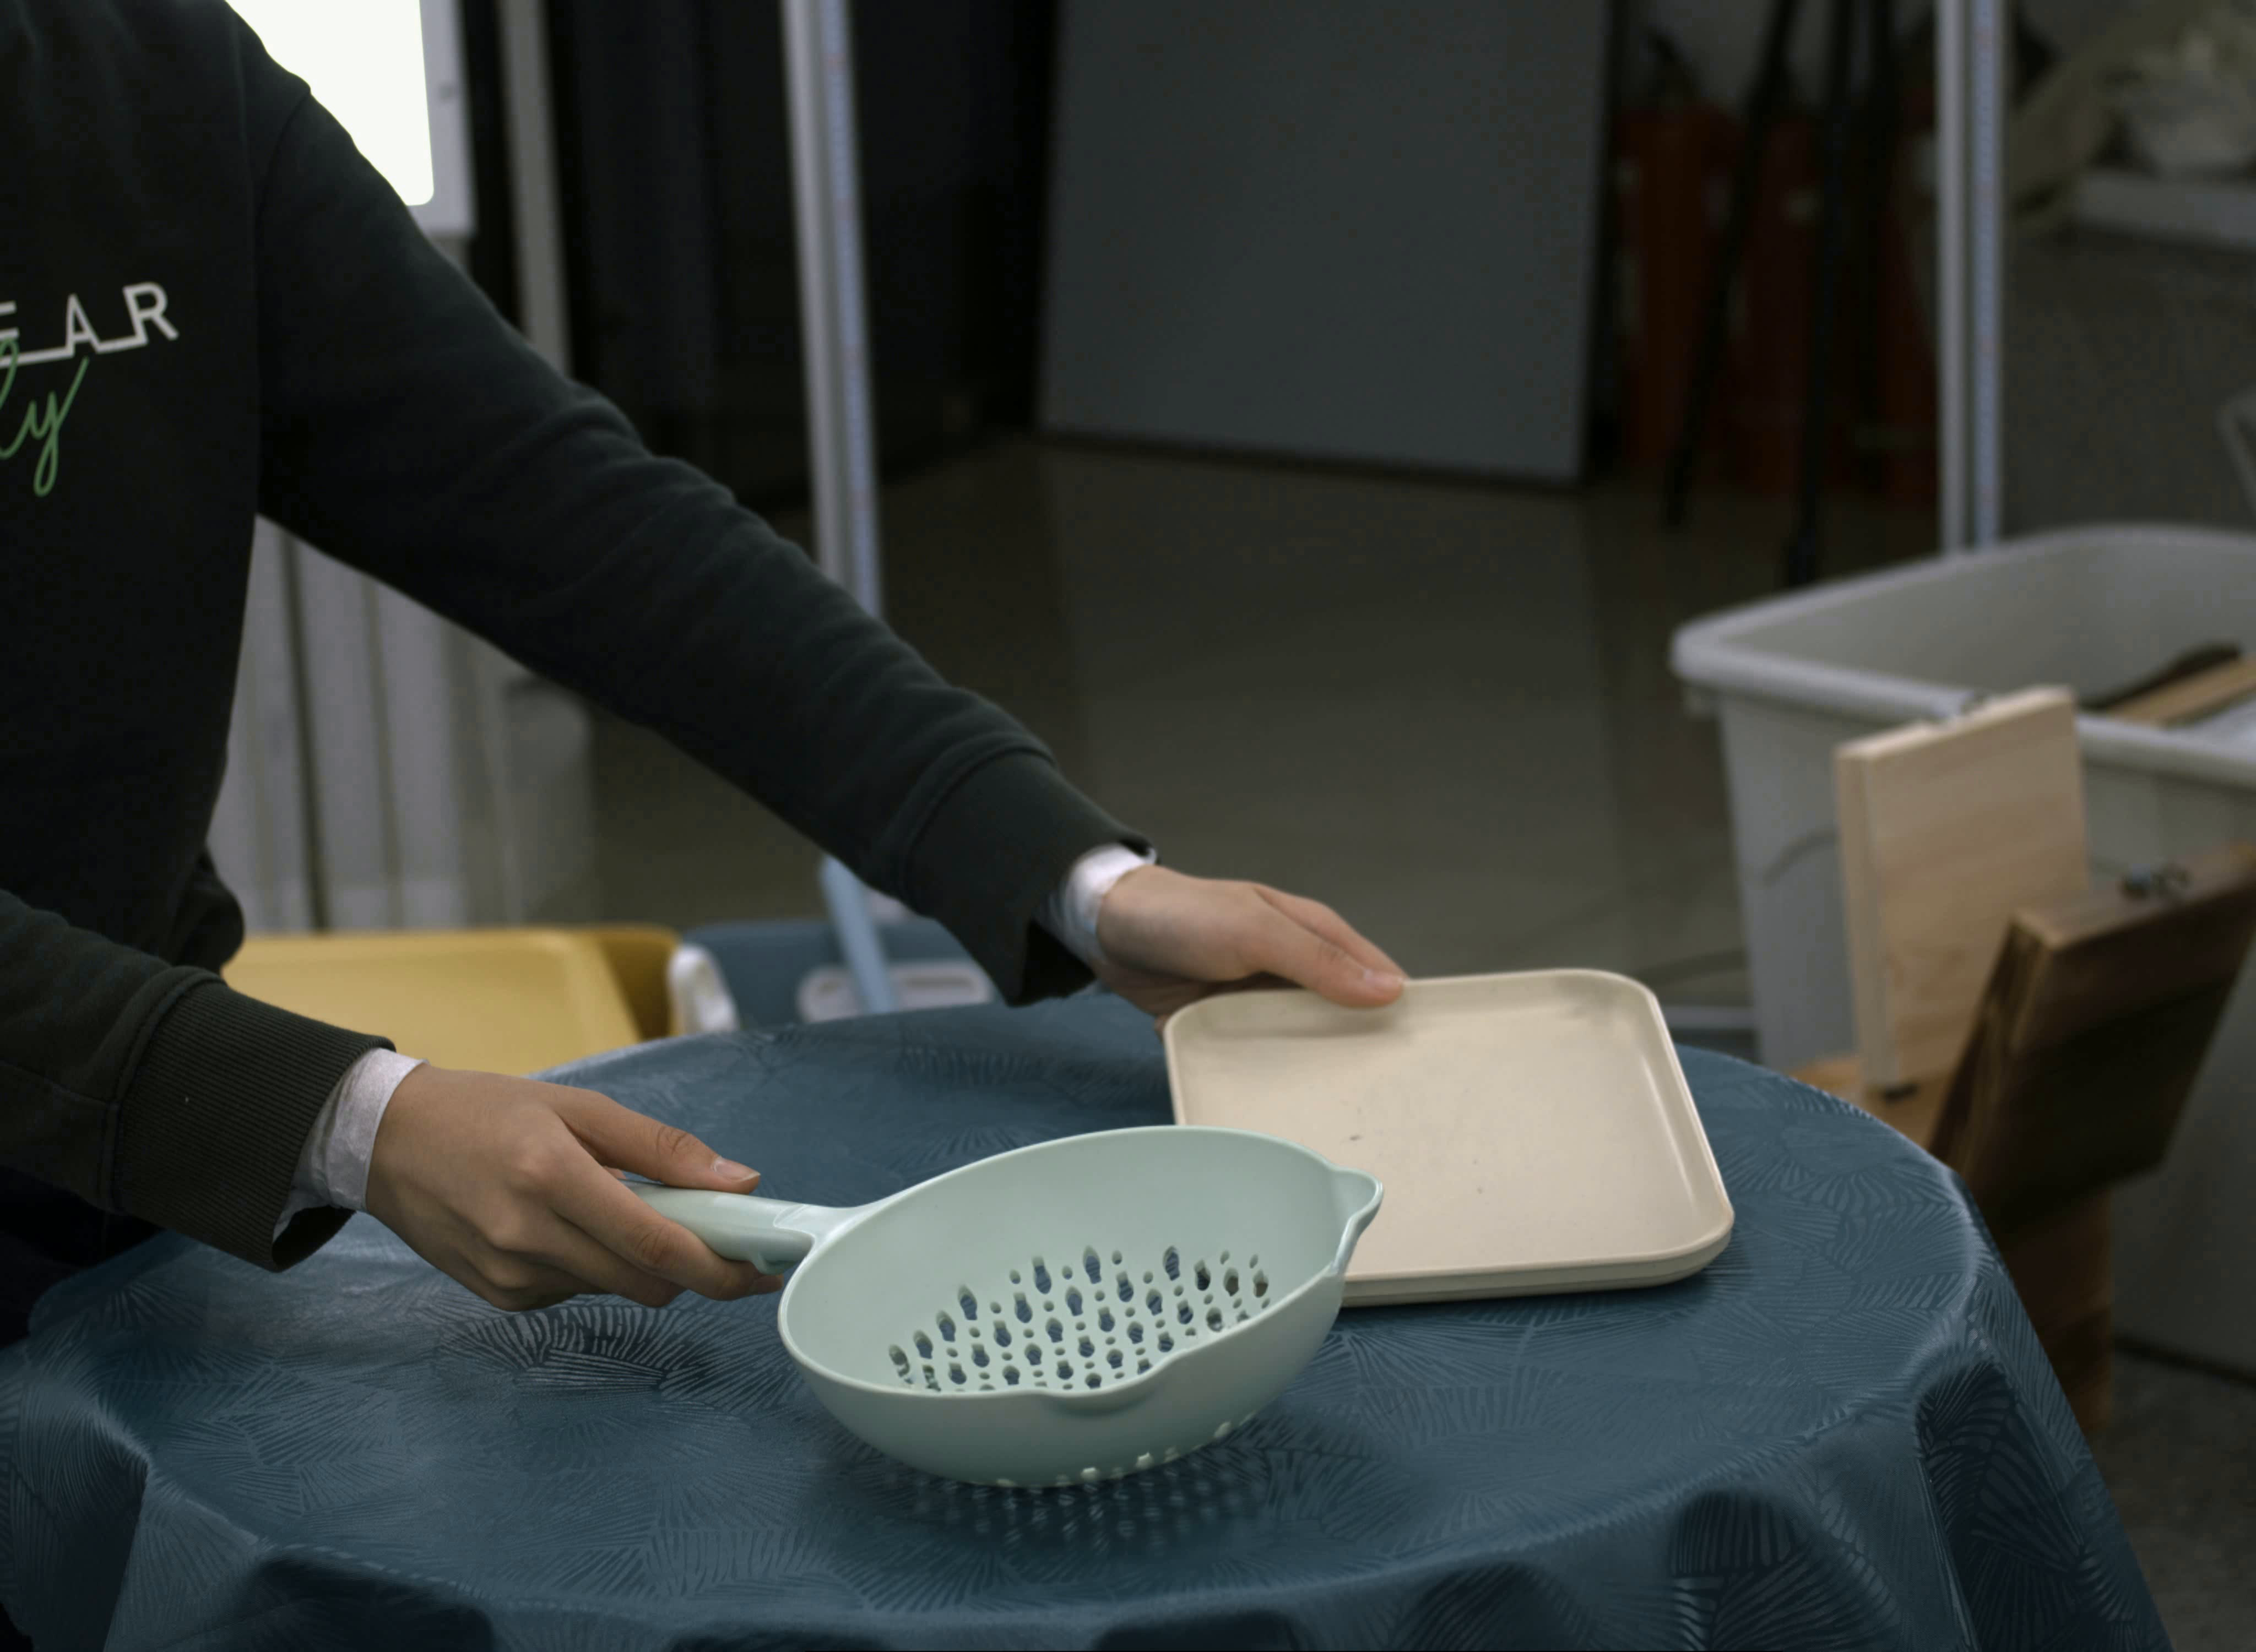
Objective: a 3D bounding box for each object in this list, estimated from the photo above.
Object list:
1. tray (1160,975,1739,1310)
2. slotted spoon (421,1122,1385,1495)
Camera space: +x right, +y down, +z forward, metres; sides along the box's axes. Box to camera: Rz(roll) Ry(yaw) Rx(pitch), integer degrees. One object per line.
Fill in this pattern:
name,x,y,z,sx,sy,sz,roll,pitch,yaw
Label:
tray,0.100,0.101,1.742,0.169,0.017,0.240,-4,19,-1
slotted spoon,-0.087,0.129,1.596,0.361,0.076,0.166,13,30,38
